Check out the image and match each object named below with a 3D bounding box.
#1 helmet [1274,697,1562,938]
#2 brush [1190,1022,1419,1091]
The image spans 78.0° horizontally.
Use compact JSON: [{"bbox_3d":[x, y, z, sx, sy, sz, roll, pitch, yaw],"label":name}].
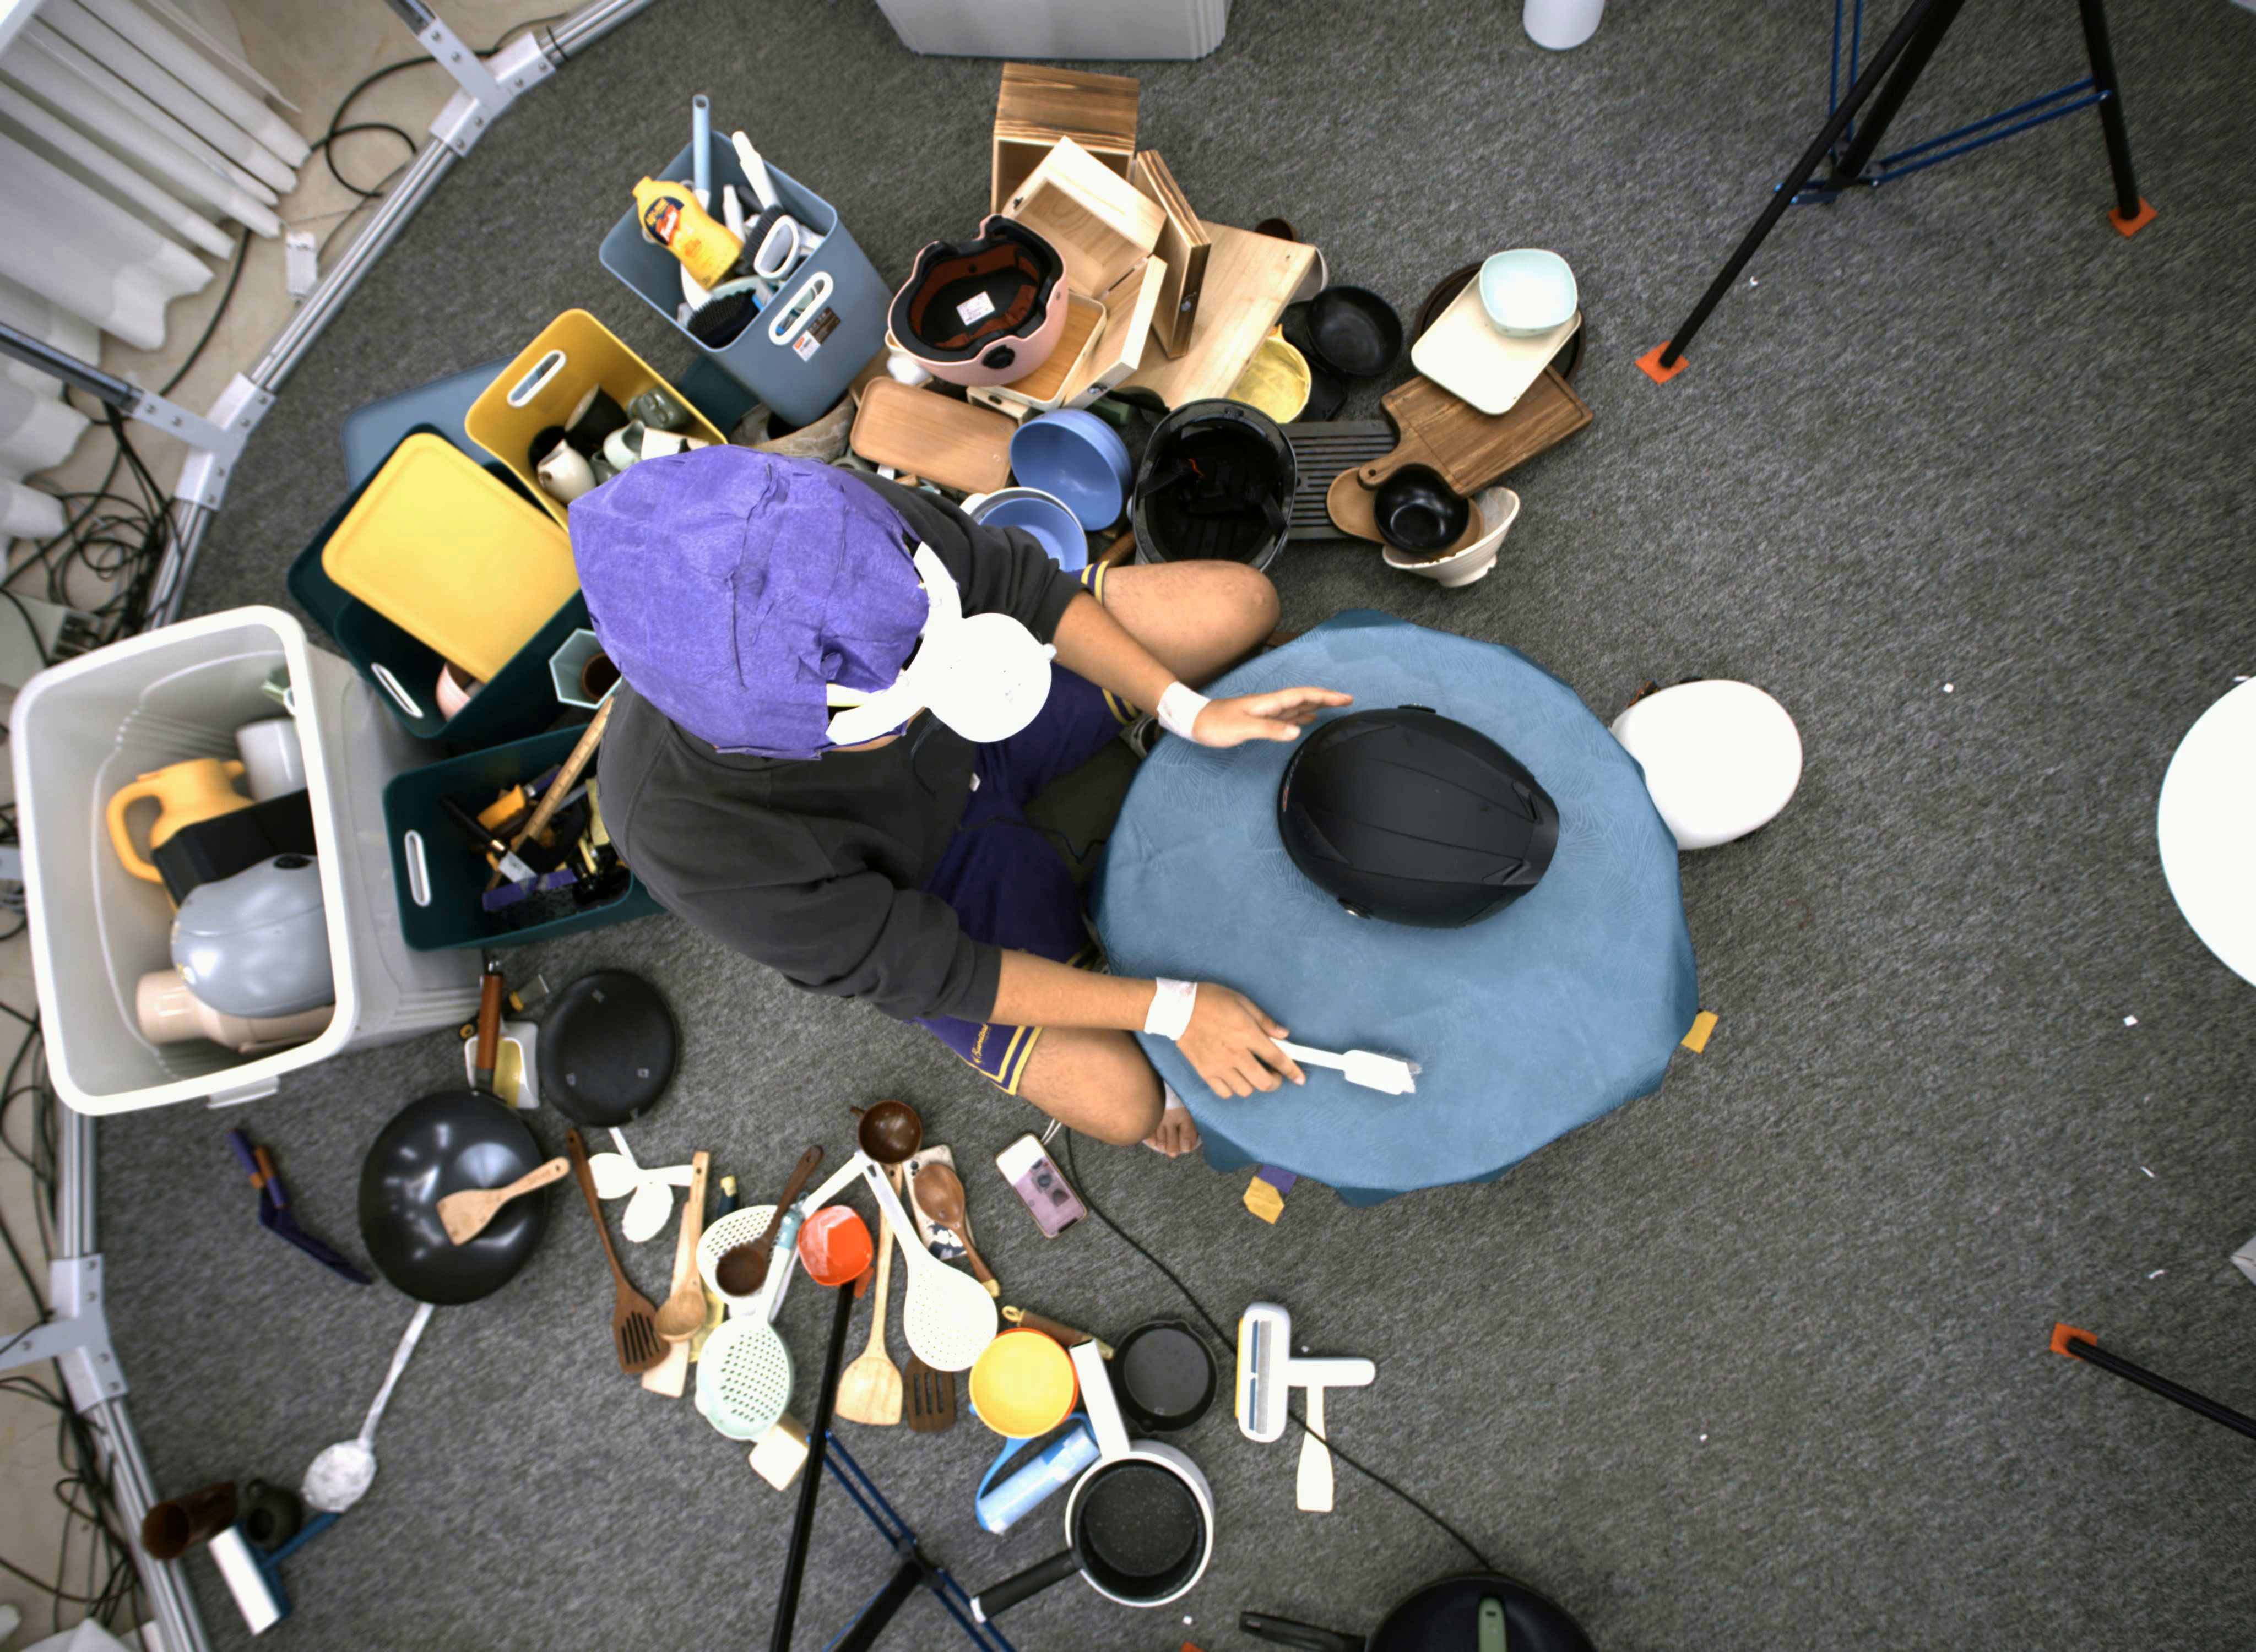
[{"bbox_3d":[0.287,-0.017,1.380,0.277,0.172,0.246,20,89,8],"label":"helmet"},{"bbox_3d":[0.183,0.237,1.455,0.244,0.050,0.034,9,89,24],"label":"brush"}]
